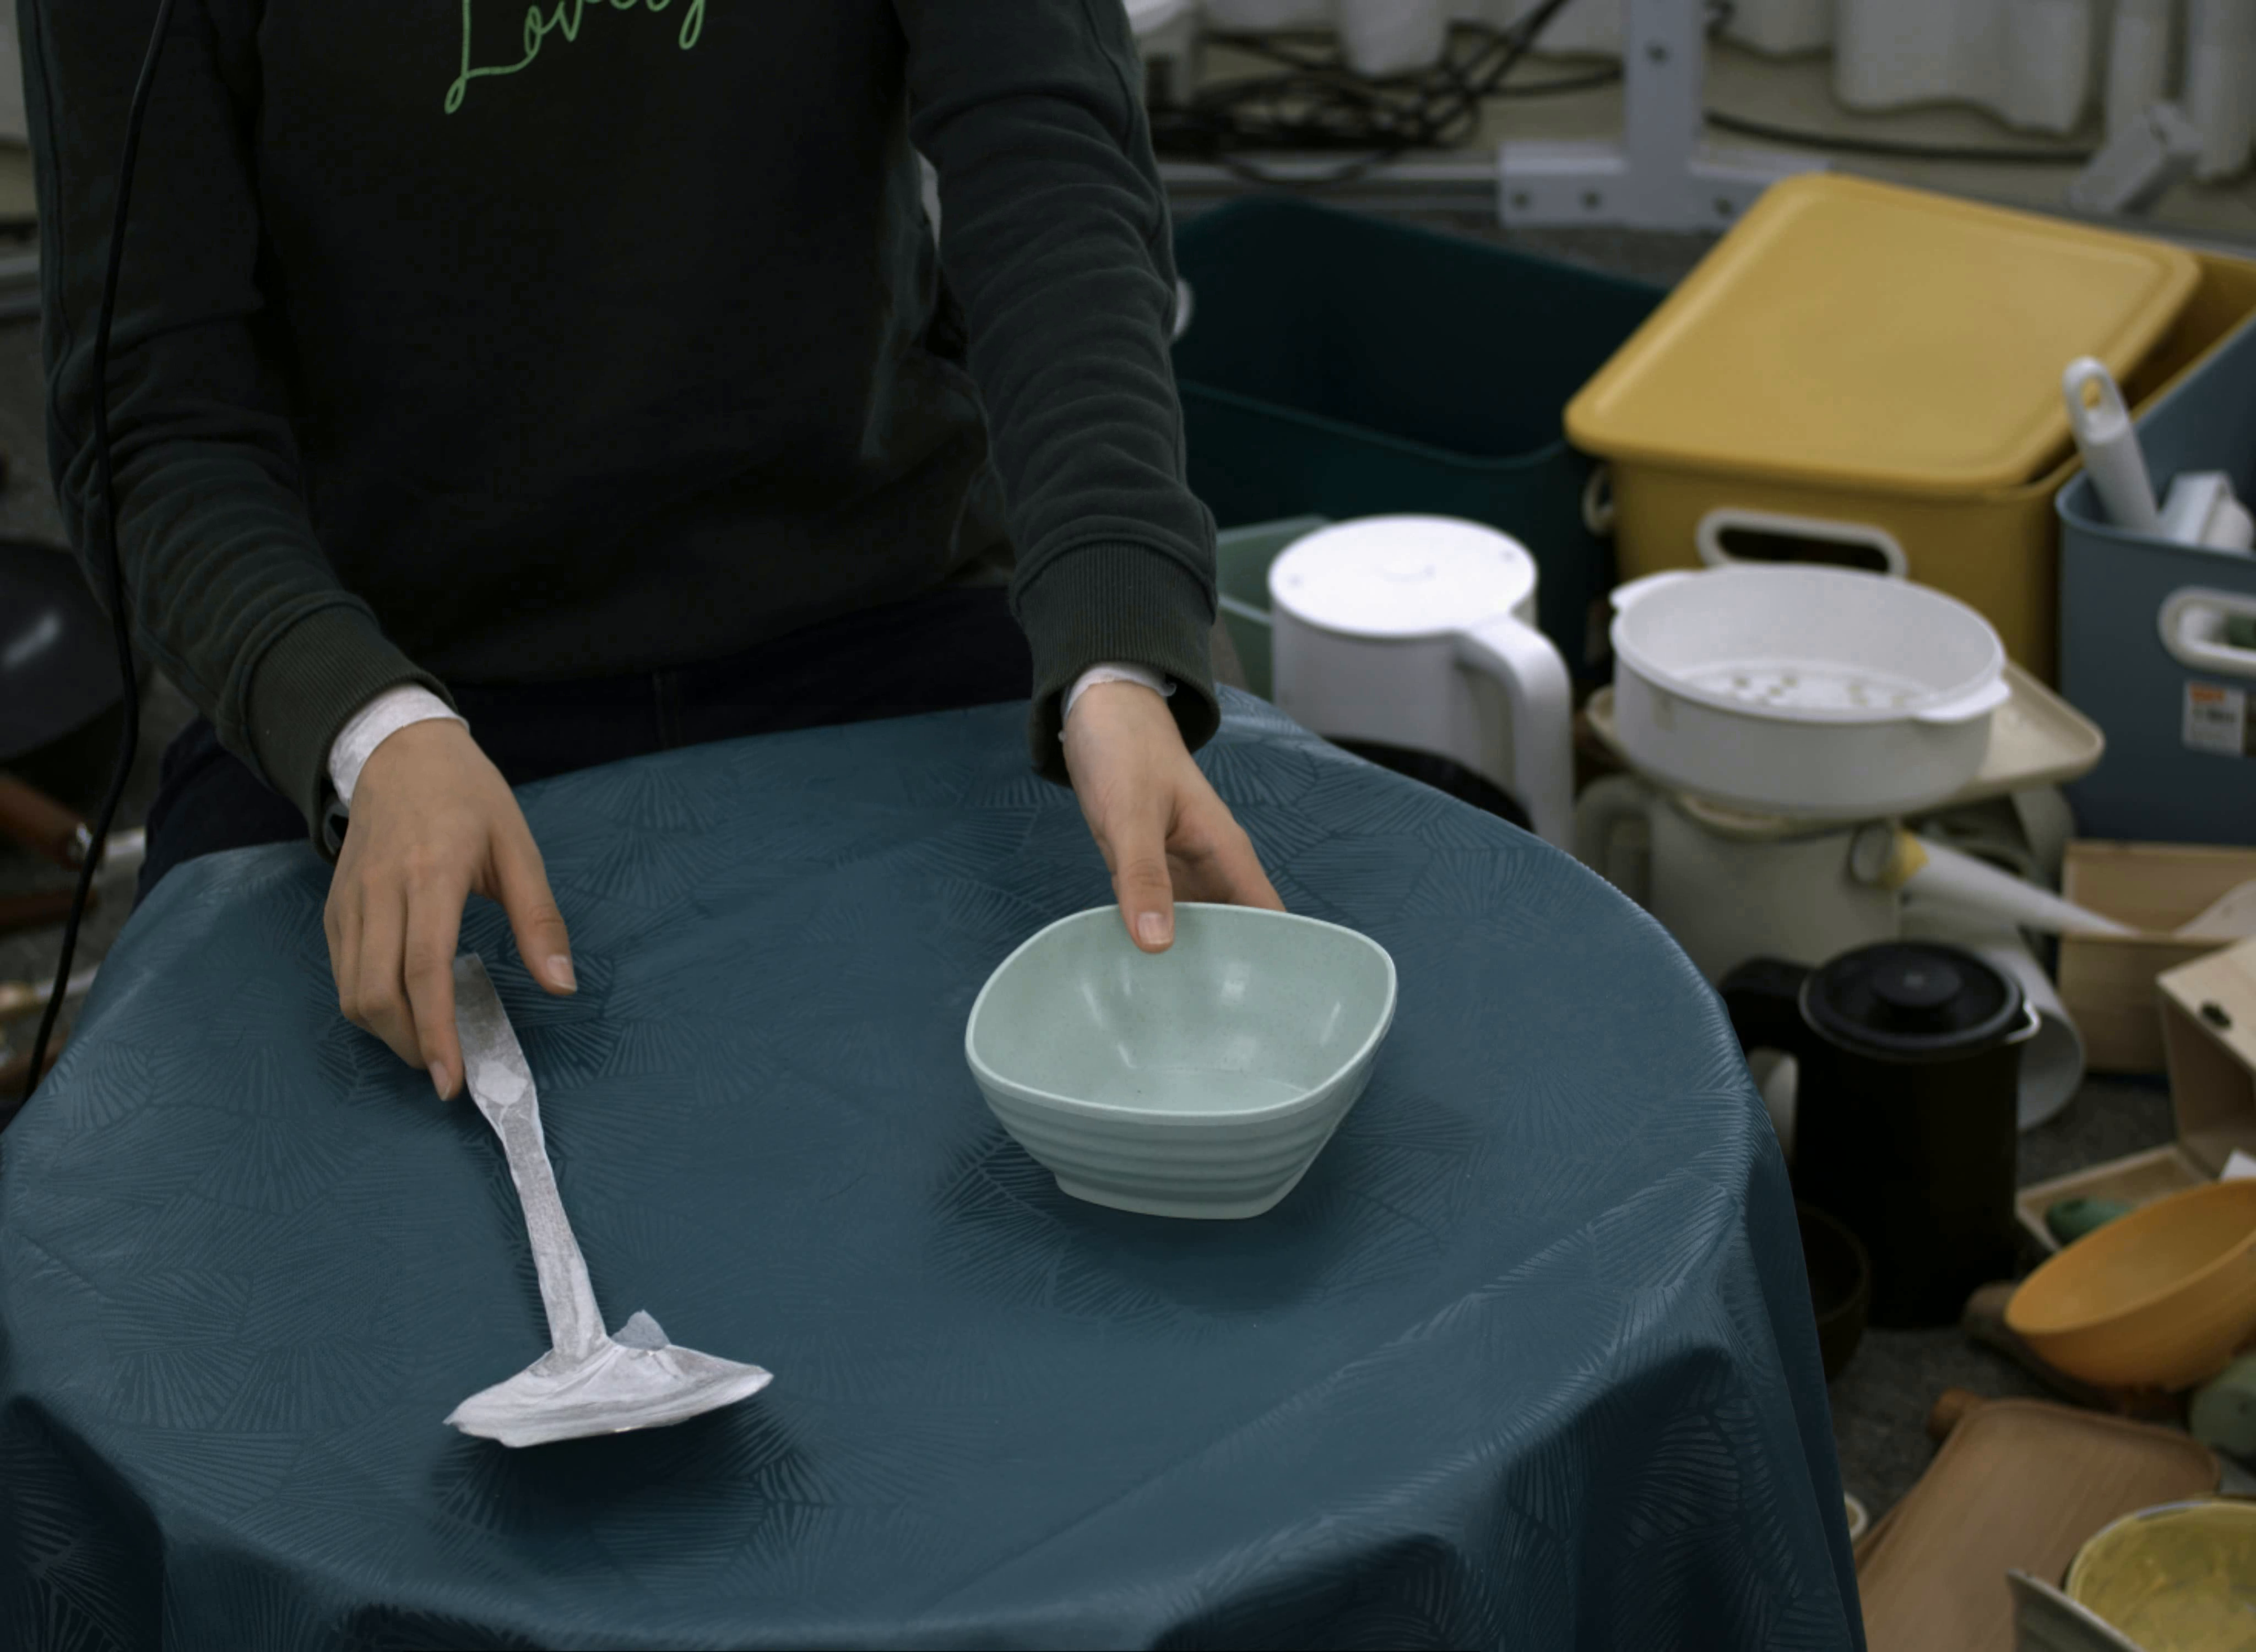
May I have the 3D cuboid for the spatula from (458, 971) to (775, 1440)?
[{"bbox_3d":[-0.191,0.117,1.848,0.098,0.044,0.369,-10,28,-10],"label":"spatula"}]

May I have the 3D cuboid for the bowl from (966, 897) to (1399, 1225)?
[{"bbox_3d":[0.019,0.084,1.872,0.151,0.058,0.154,0,29,1],"label":"bowl"}]
